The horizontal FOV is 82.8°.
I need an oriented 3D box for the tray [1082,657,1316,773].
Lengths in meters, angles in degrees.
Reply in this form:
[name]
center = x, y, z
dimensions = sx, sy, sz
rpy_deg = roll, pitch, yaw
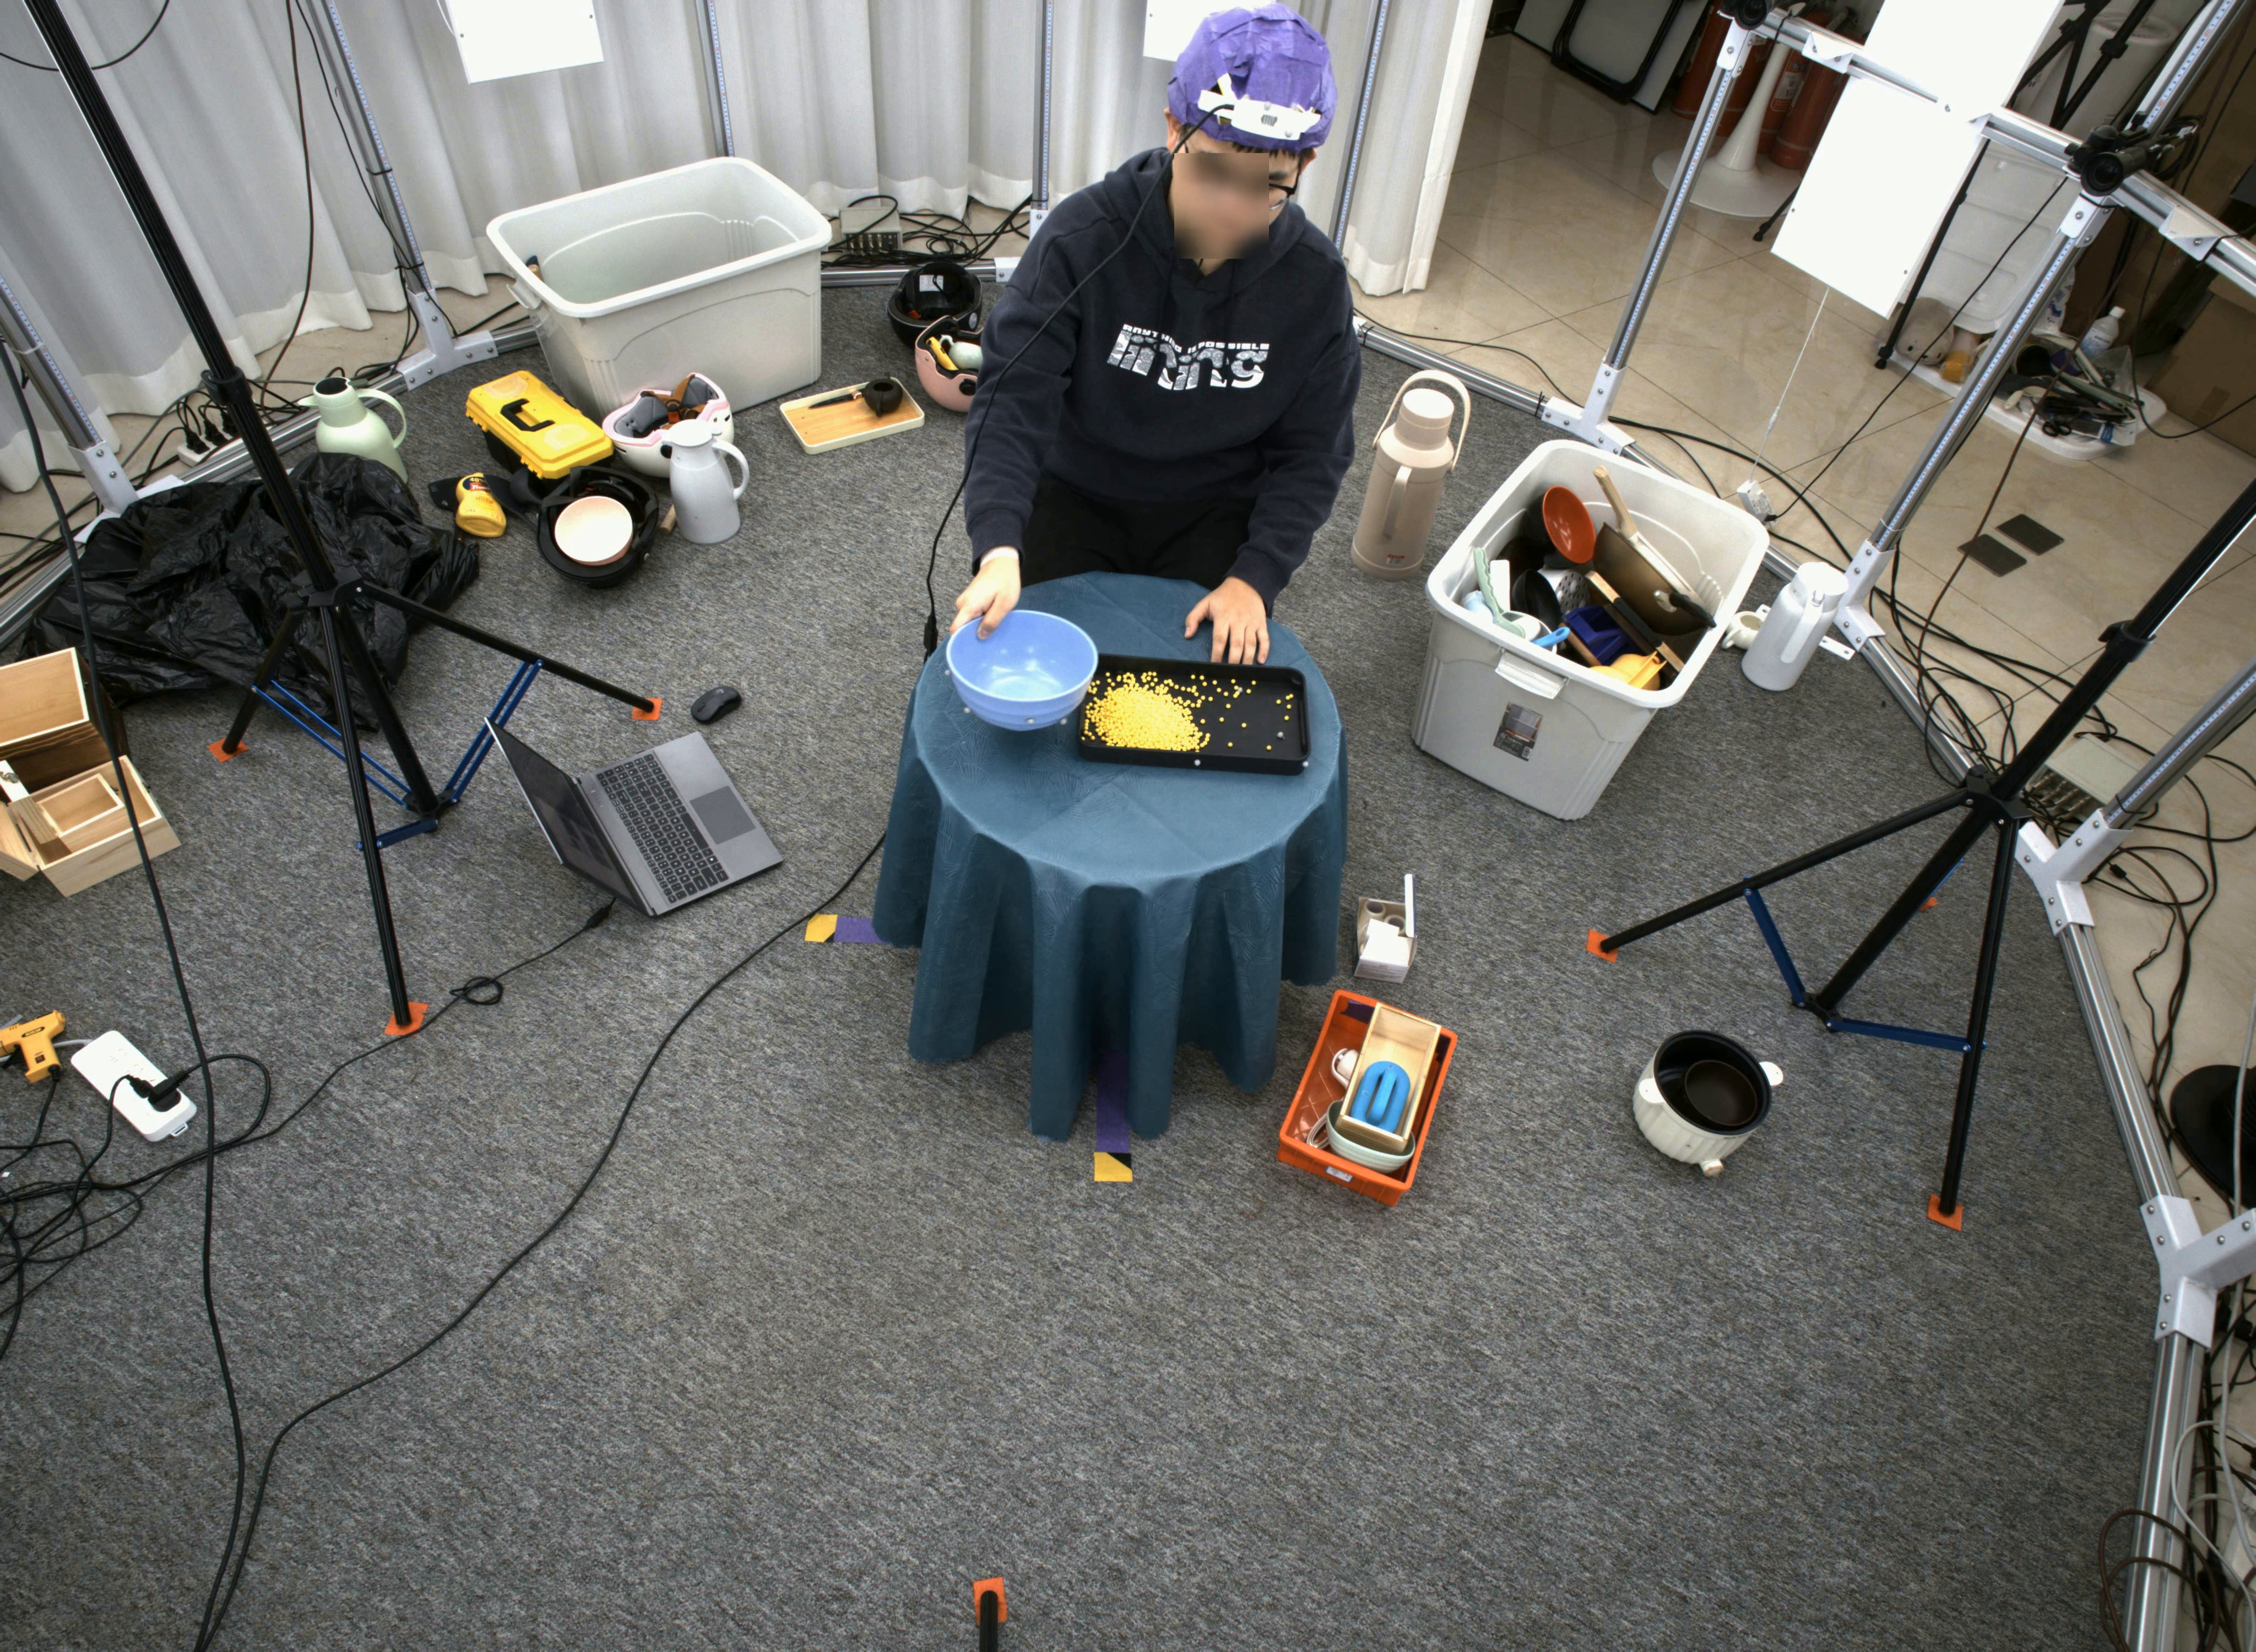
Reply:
[tray]
center = 0.096, -0.156, 1.787
dimensions = 0.318, 0.036, 0.189
rpy_deg = 2, 48, -1

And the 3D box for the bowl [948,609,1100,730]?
[bowl]
center = -0.137, -0.193, 1.696
dimensions = 0.196, 0.093, 0.201
rpy_deg = 2, 43, -2
